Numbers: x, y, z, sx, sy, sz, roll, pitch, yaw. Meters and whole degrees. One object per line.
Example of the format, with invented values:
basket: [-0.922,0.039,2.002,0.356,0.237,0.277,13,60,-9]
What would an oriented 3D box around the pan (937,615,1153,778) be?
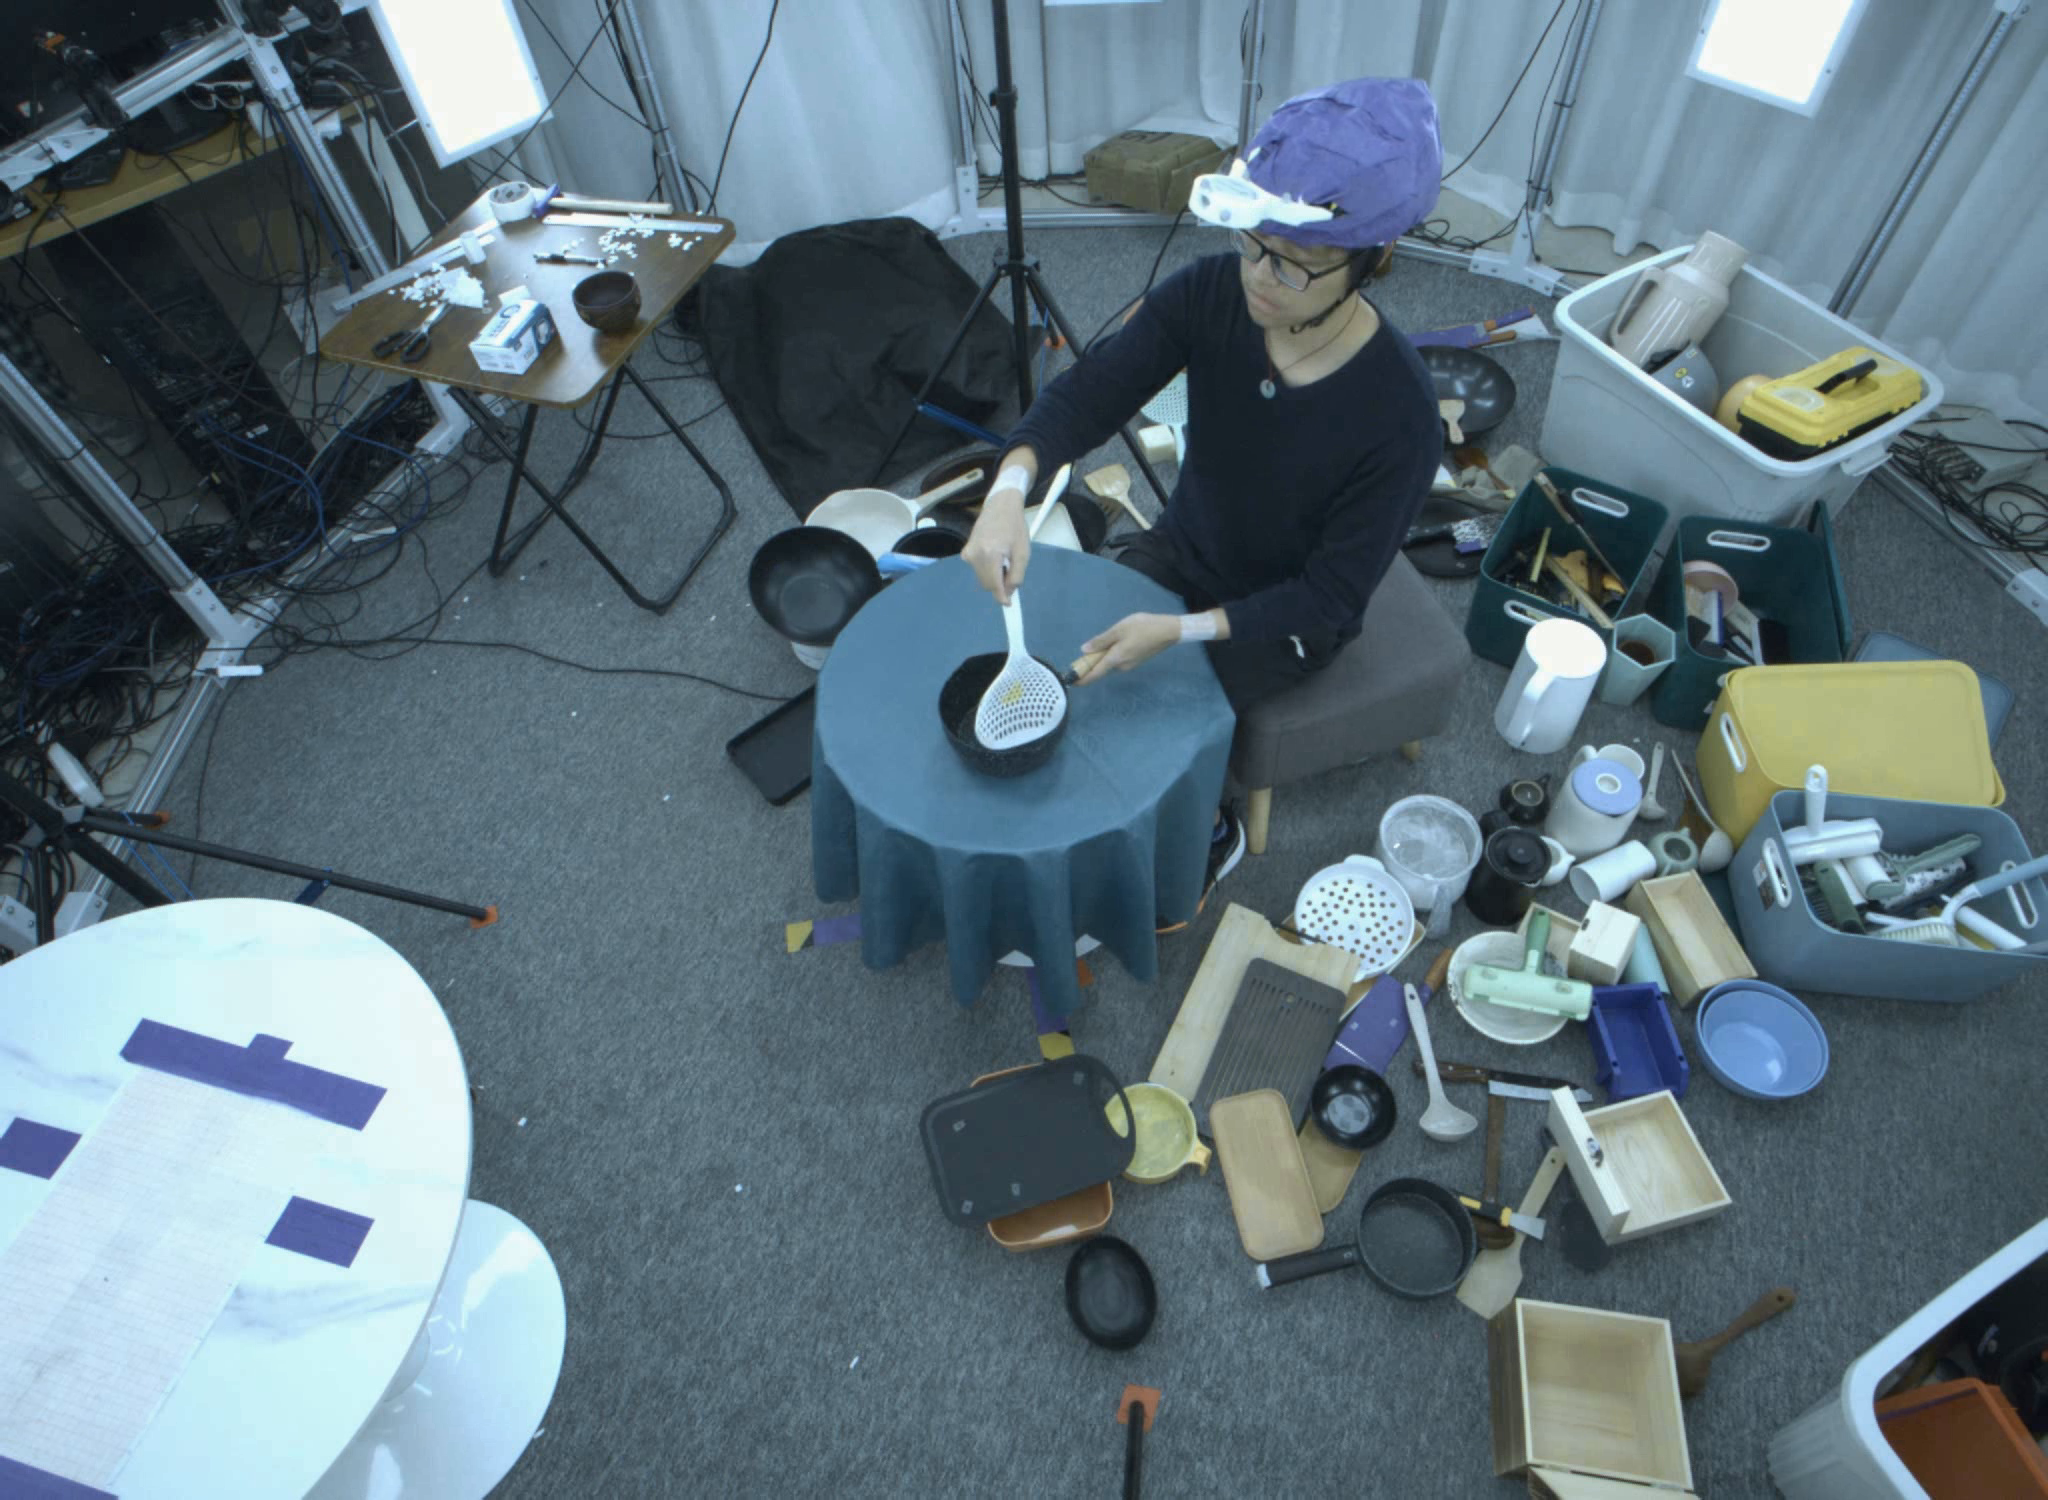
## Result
pan: [0.039,-0.088,1.782,0.345,0.109,0.203,-29,57,-16]

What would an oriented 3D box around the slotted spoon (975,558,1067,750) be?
slotted spoon: [-0.016,-0.121,1.625,0.137,0.351,0.049,-20,57,-10]
